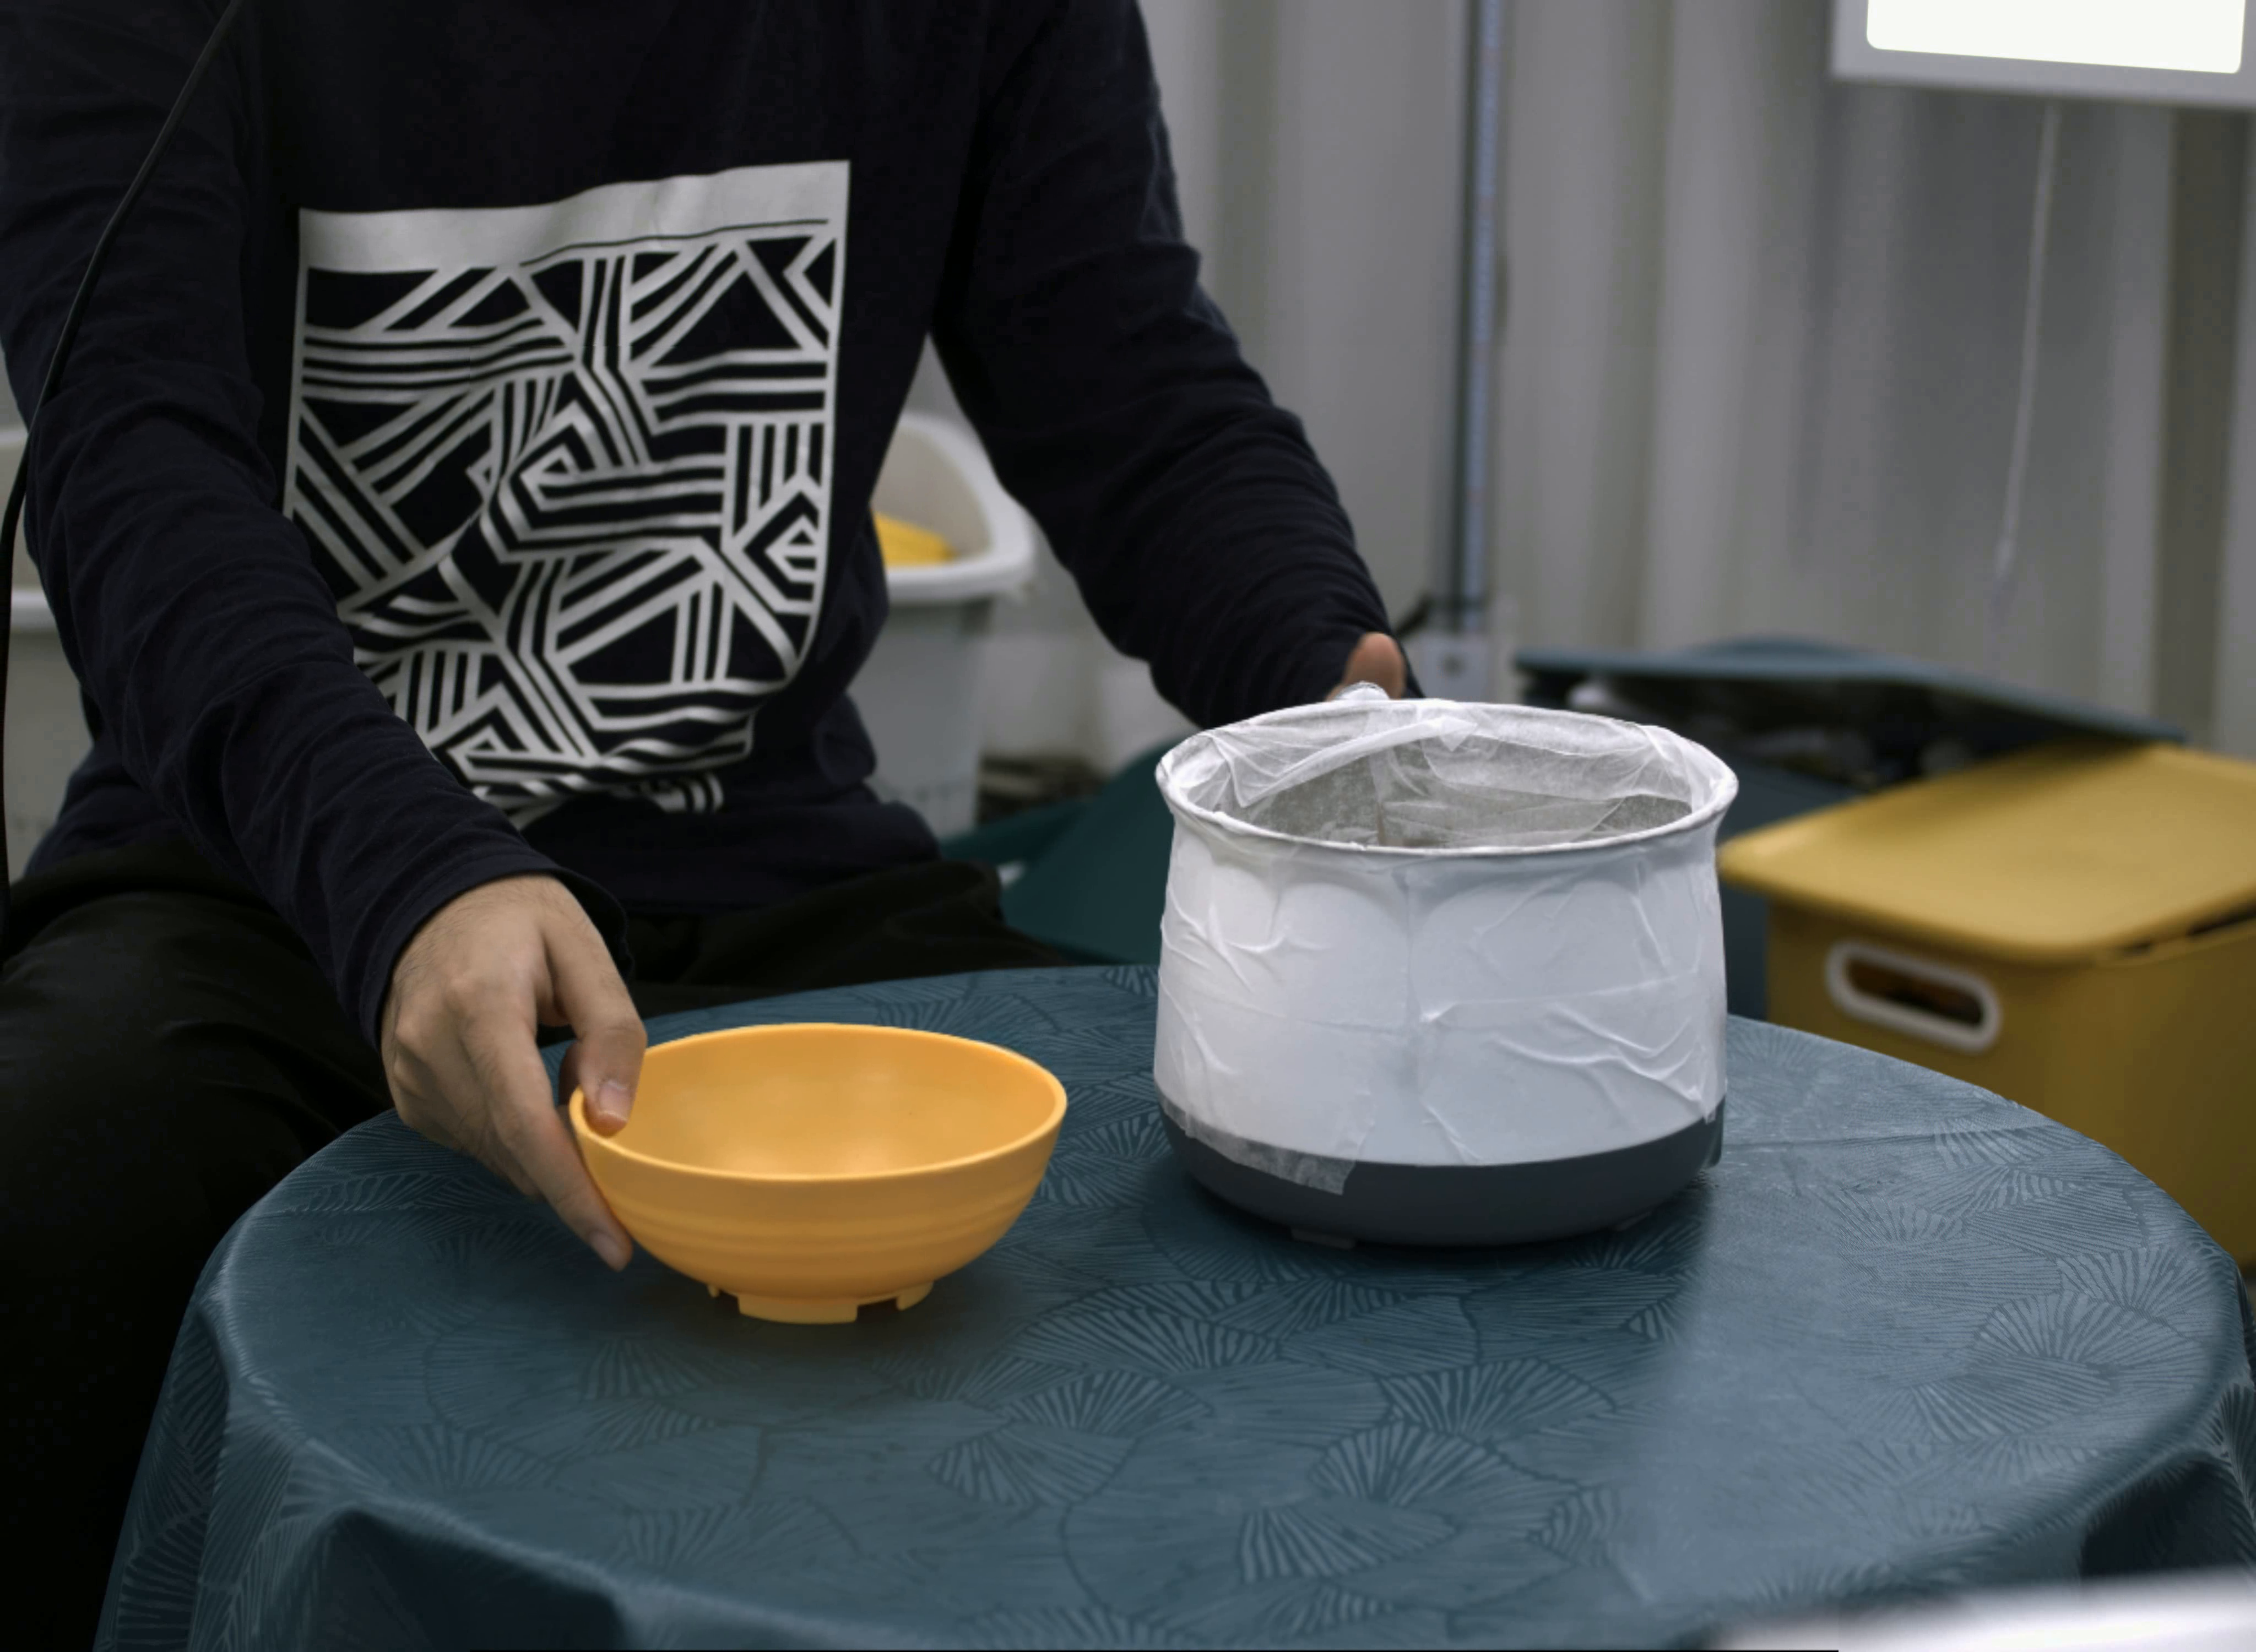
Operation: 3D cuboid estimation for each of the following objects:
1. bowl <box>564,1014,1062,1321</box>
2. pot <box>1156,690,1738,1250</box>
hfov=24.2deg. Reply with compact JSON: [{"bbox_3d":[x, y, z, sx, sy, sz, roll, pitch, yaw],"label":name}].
[{"bbox_3d":[-0.092,0.104,1.532,0.145,0.060,0.144,2,16,0],"label":"bowl"},{"bbox_3d":[0.091,0.040,1.642,0.179,0.137,0.231,-3,15,-13],"label":"pot"}]
